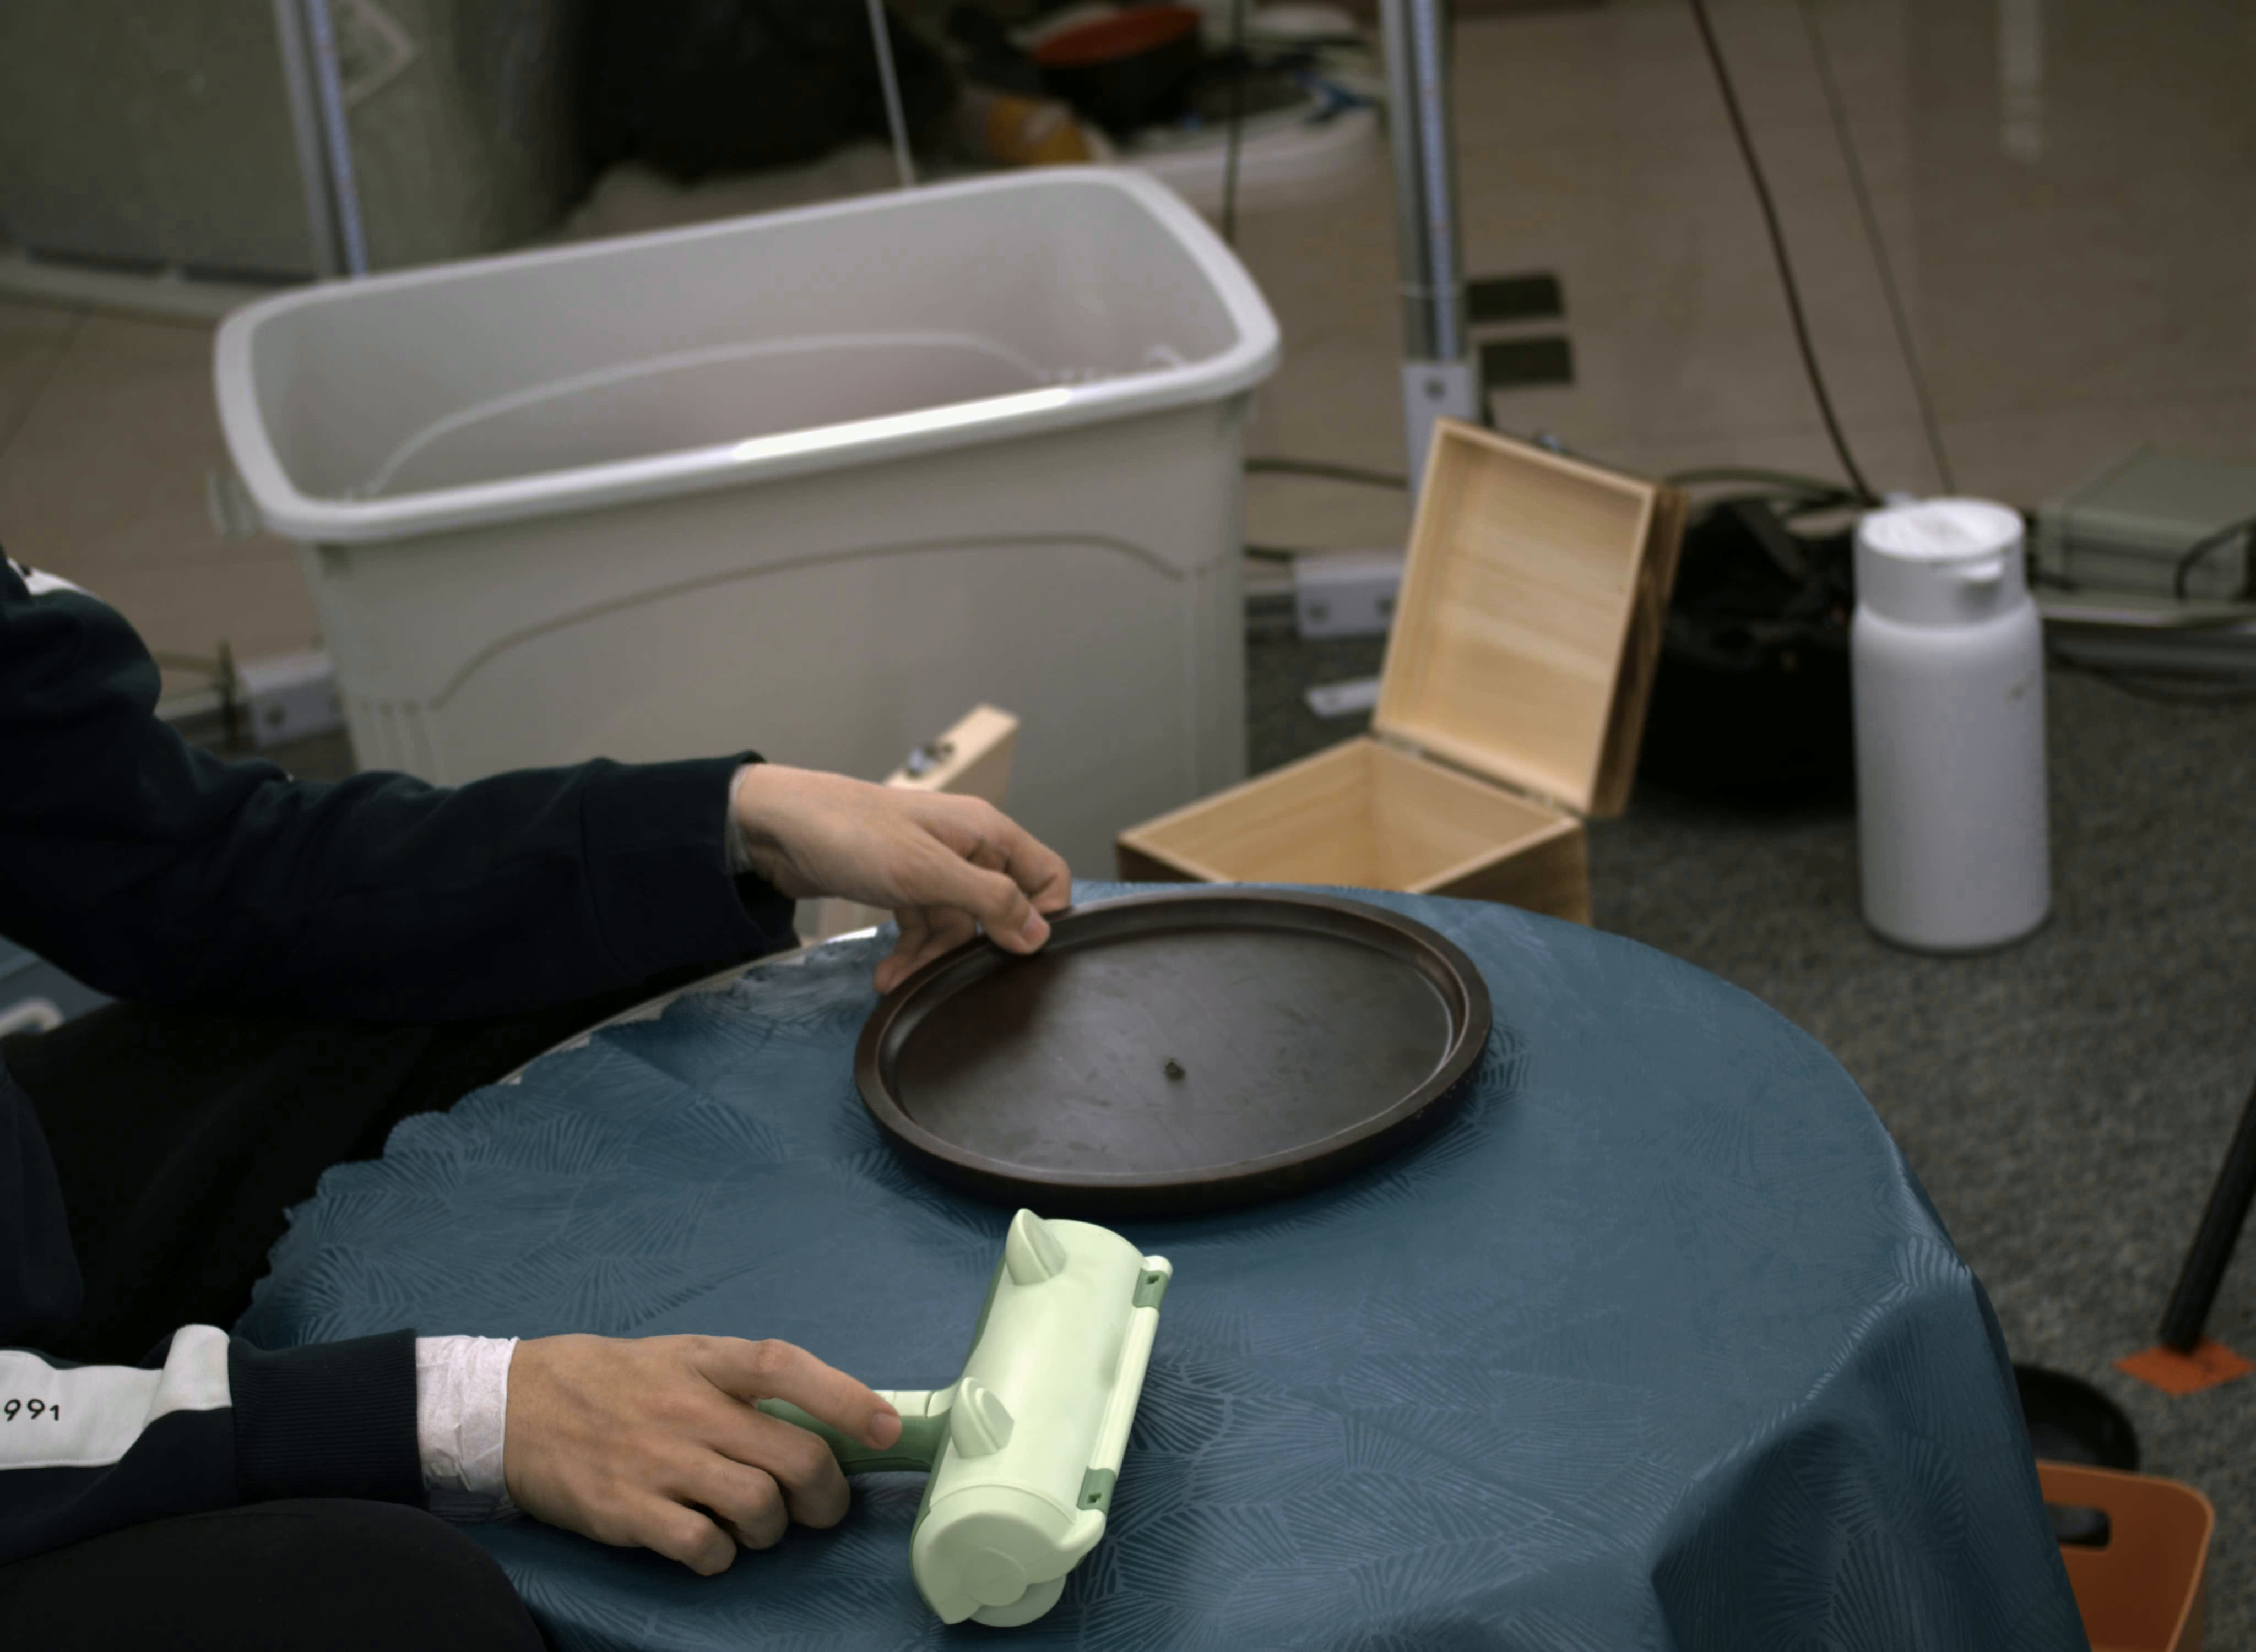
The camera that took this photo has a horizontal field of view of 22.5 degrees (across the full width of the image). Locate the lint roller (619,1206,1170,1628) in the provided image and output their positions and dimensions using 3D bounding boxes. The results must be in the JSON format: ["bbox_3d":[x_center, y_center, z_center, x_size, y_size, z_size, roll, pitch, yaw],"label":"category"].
[{"bbox_3d":[-0.088,0.194,1.950,0.183,0.083,0.195,2,26,8],"label":"lint roller"}]

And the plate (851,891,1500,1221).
[{"bbox_3d":[0.019,0.088,2.219,0.254,0.029,0.251,-5,26,2],"label":"plate"}]
